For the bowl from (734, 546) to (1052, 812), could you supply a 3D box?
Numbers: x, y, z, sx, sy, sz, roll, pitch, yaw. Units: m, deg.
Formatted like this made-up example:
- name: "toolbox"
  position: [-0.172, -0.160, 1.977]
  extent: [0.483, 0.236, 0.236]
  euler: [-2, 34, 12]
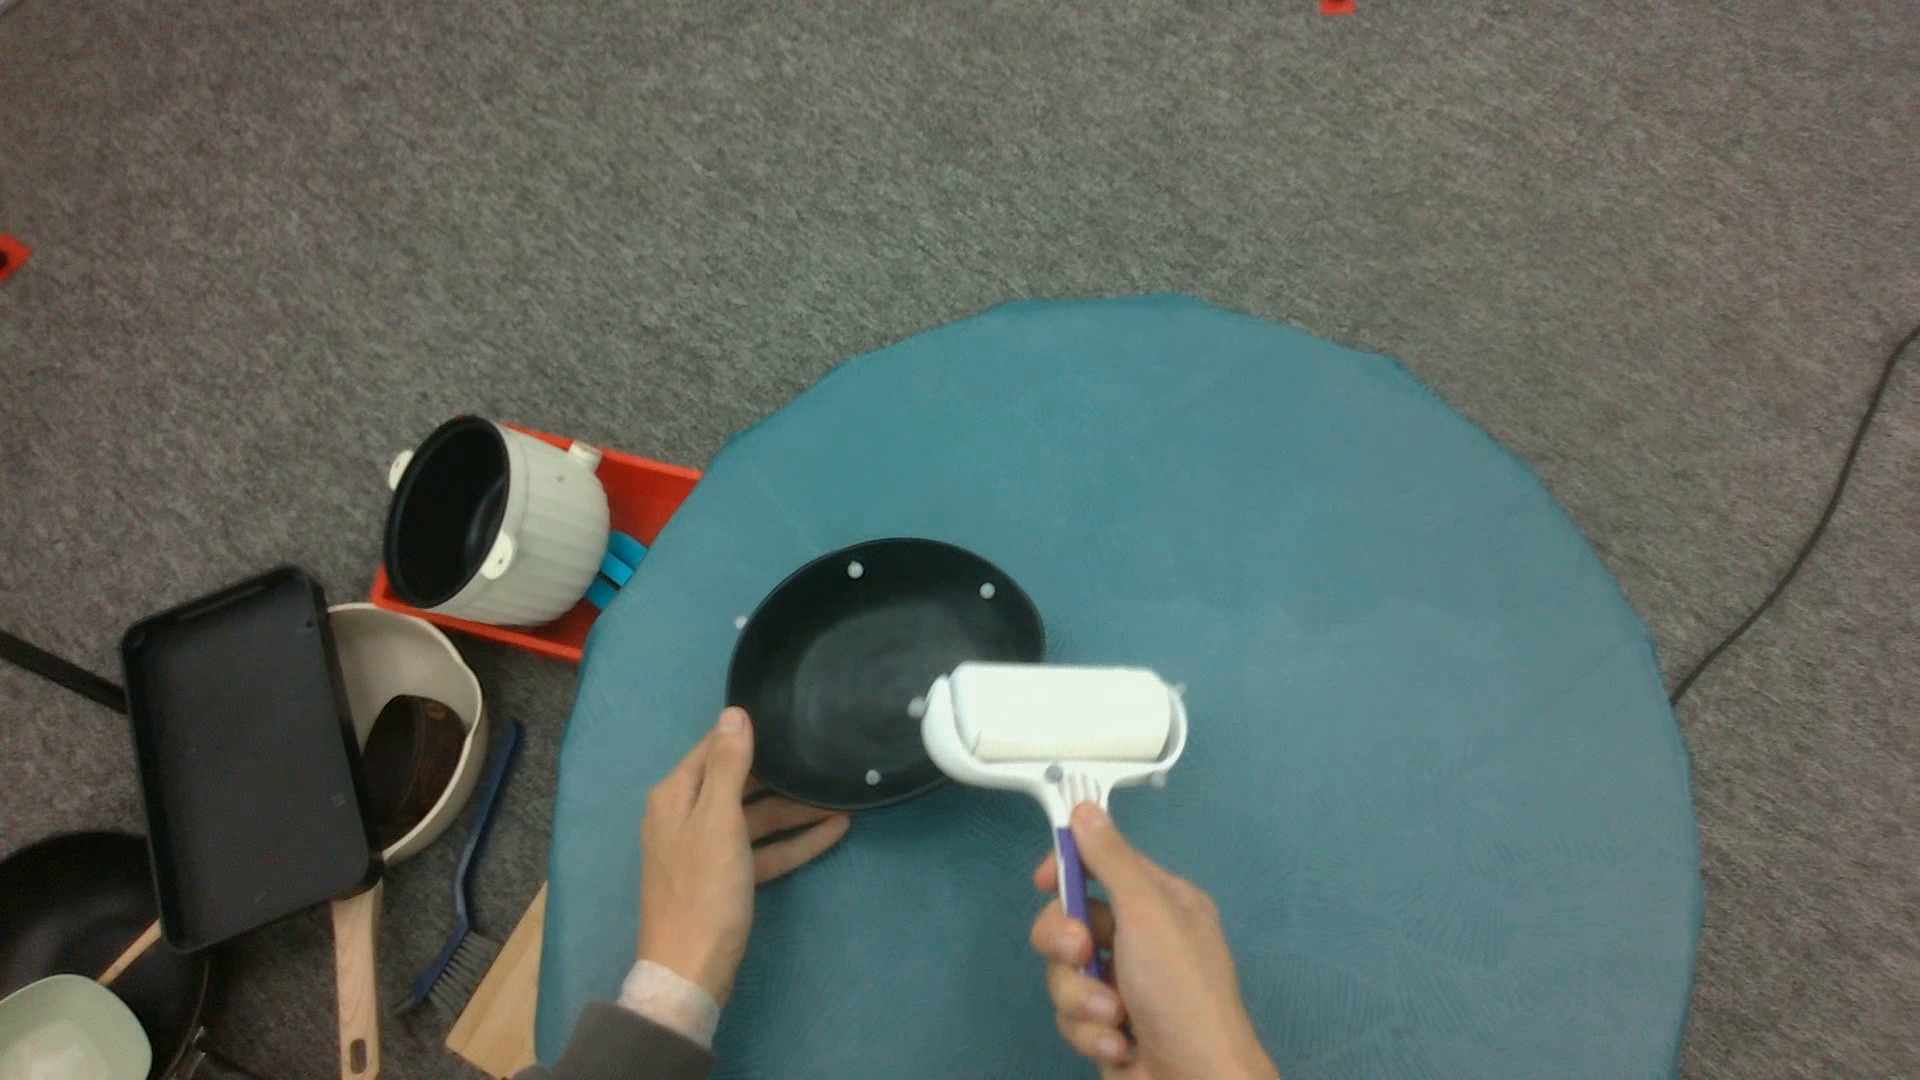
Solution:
- name: "bowl"
  position: [-0.034, 0.077, 0.737]
  extent: [0.170, 0.066, 0.137]
  euler: [-24, 70, -7]

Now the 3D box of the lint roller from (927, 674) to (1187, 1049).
- name: "lint roller"
  position: [0.062, 0.137, 0.628]
  extent: [0.133, 0.050, 0.181]
  euler: [5, 43, -23]
